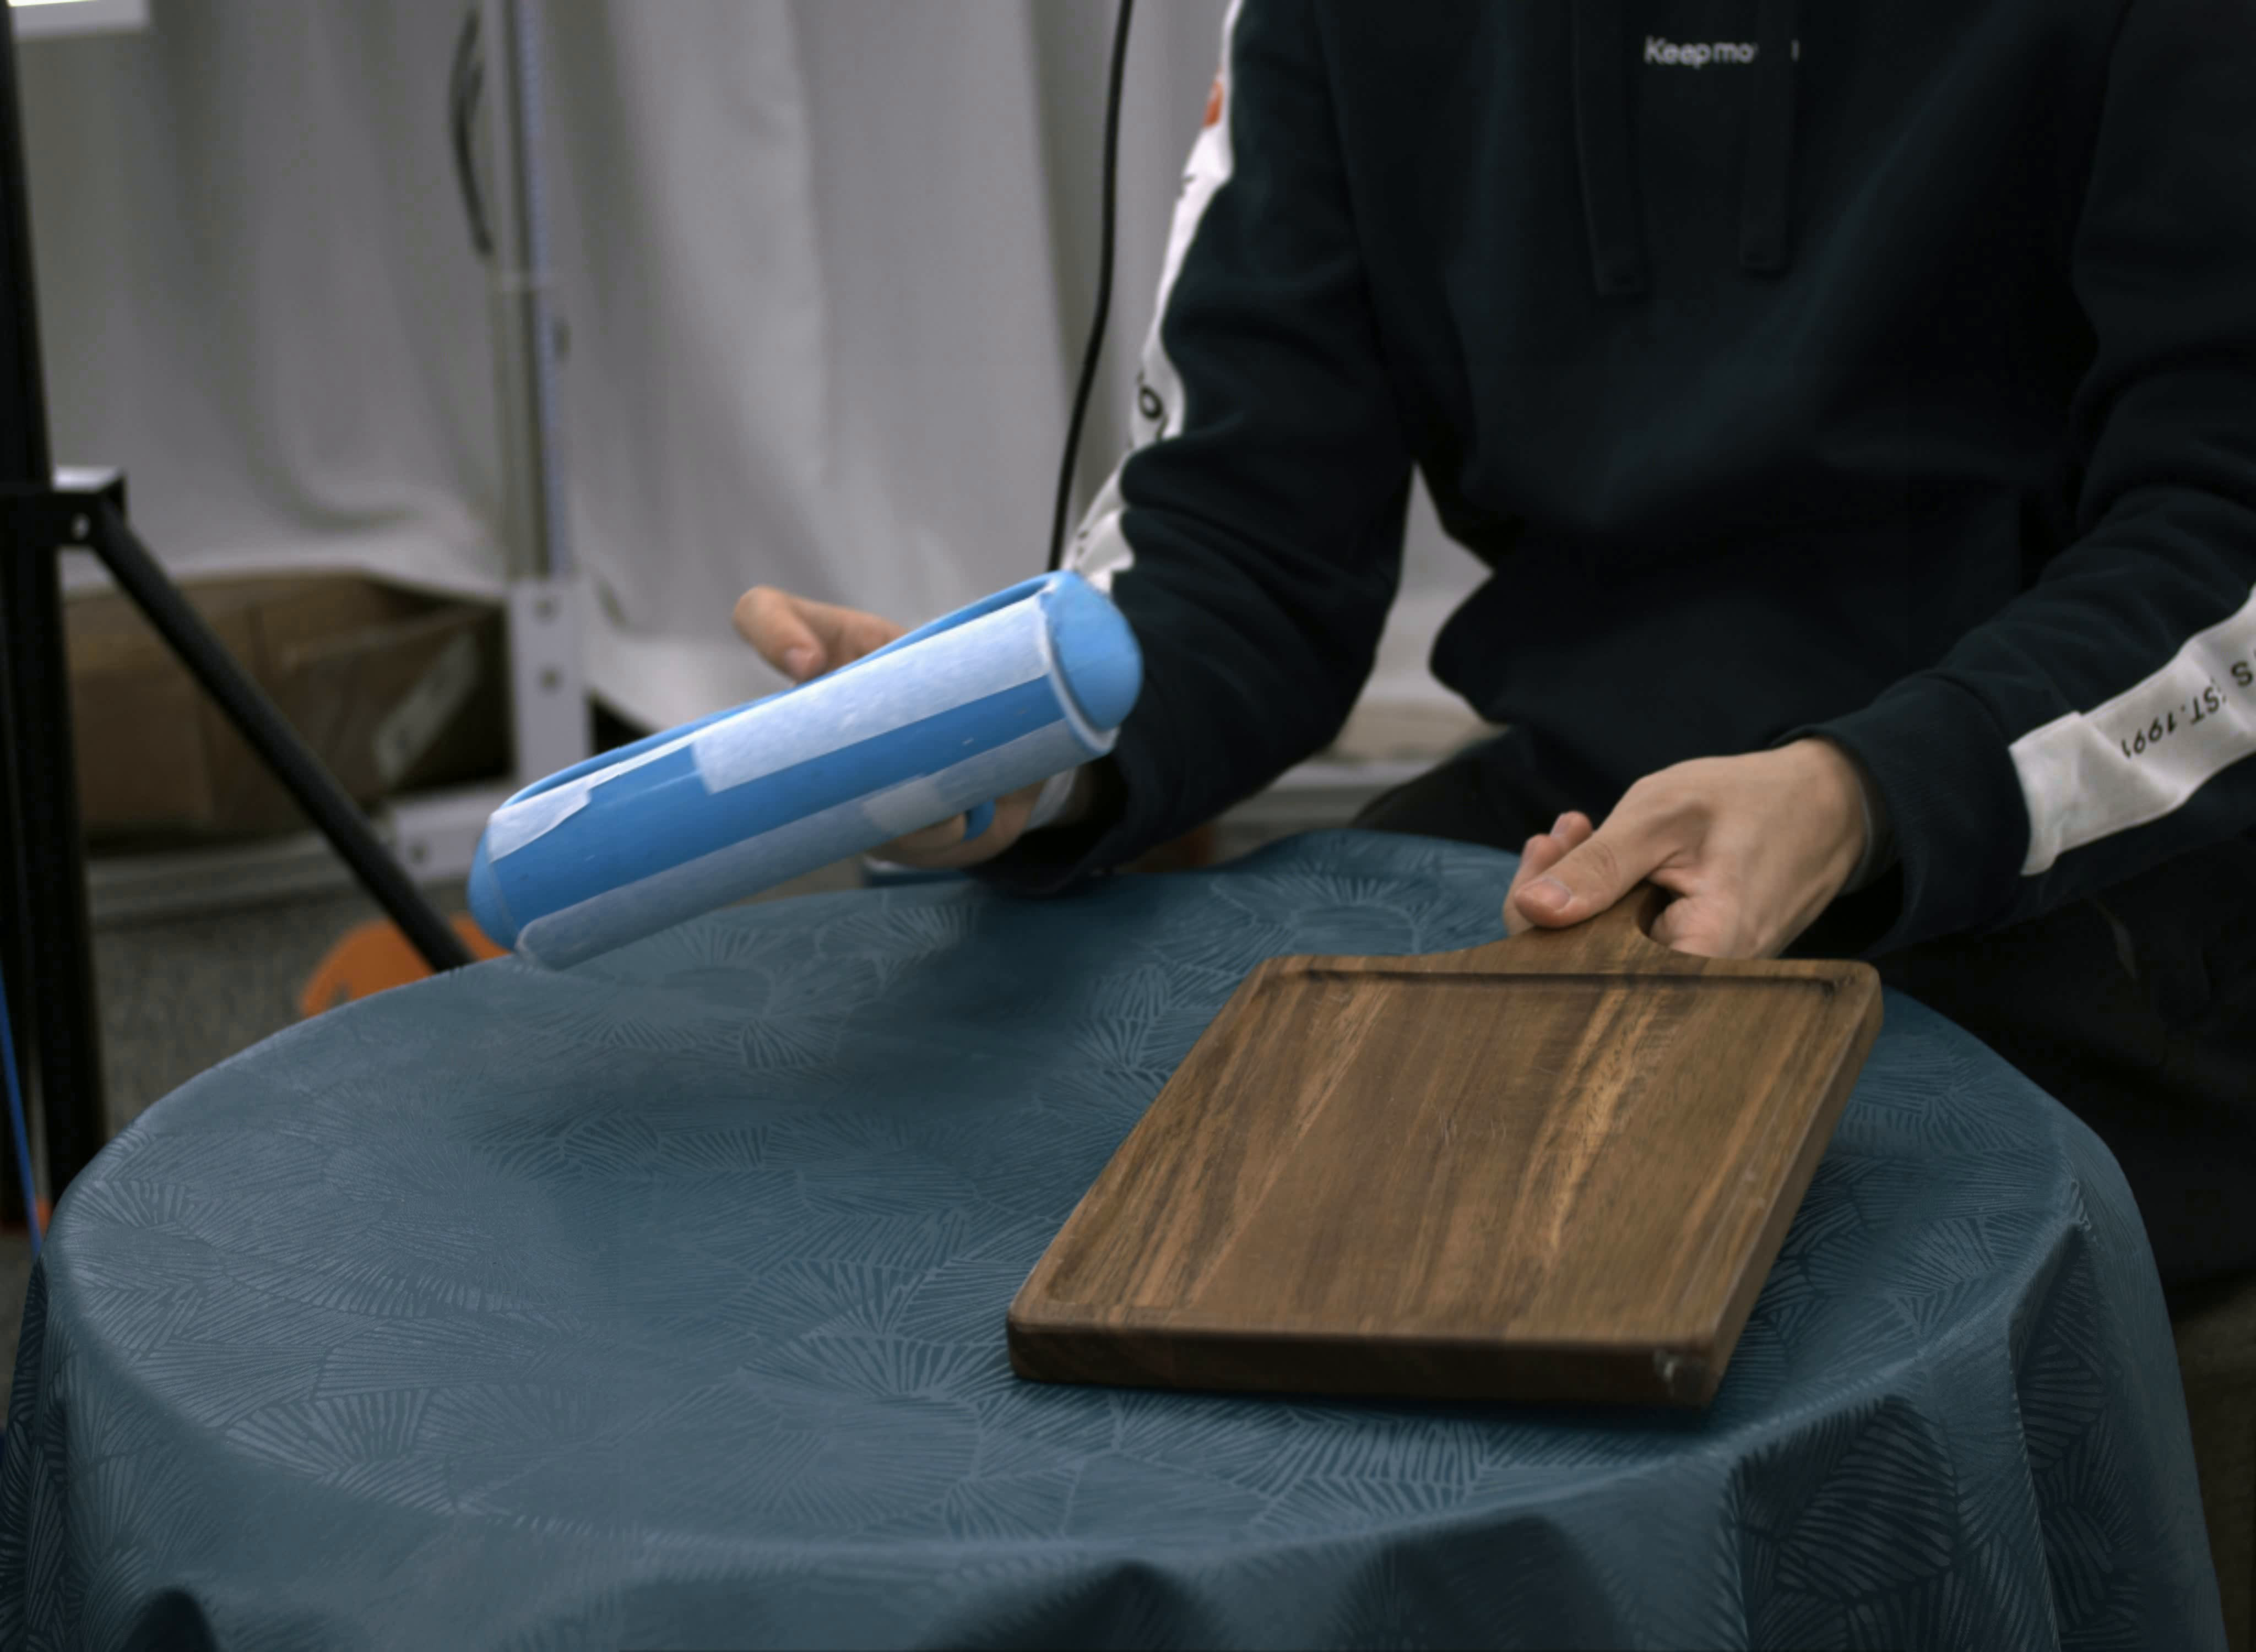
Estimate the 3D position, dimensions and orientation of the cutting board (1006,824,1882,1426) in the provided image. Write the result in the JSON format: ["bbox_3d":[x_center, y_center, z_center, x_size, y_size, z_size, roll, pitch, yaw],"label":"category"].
[{"bbox_3d":[0.109,0.077,1.528,0.203,0.023,0.349,1,23,19],"label":"cutting board"}]

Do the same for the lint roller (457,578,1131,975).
[{"bbox_3d":[-0.091,-0.015,1.692,0.230,0.068,0.178,-22,-4,14],"label":"lint roller"}]
